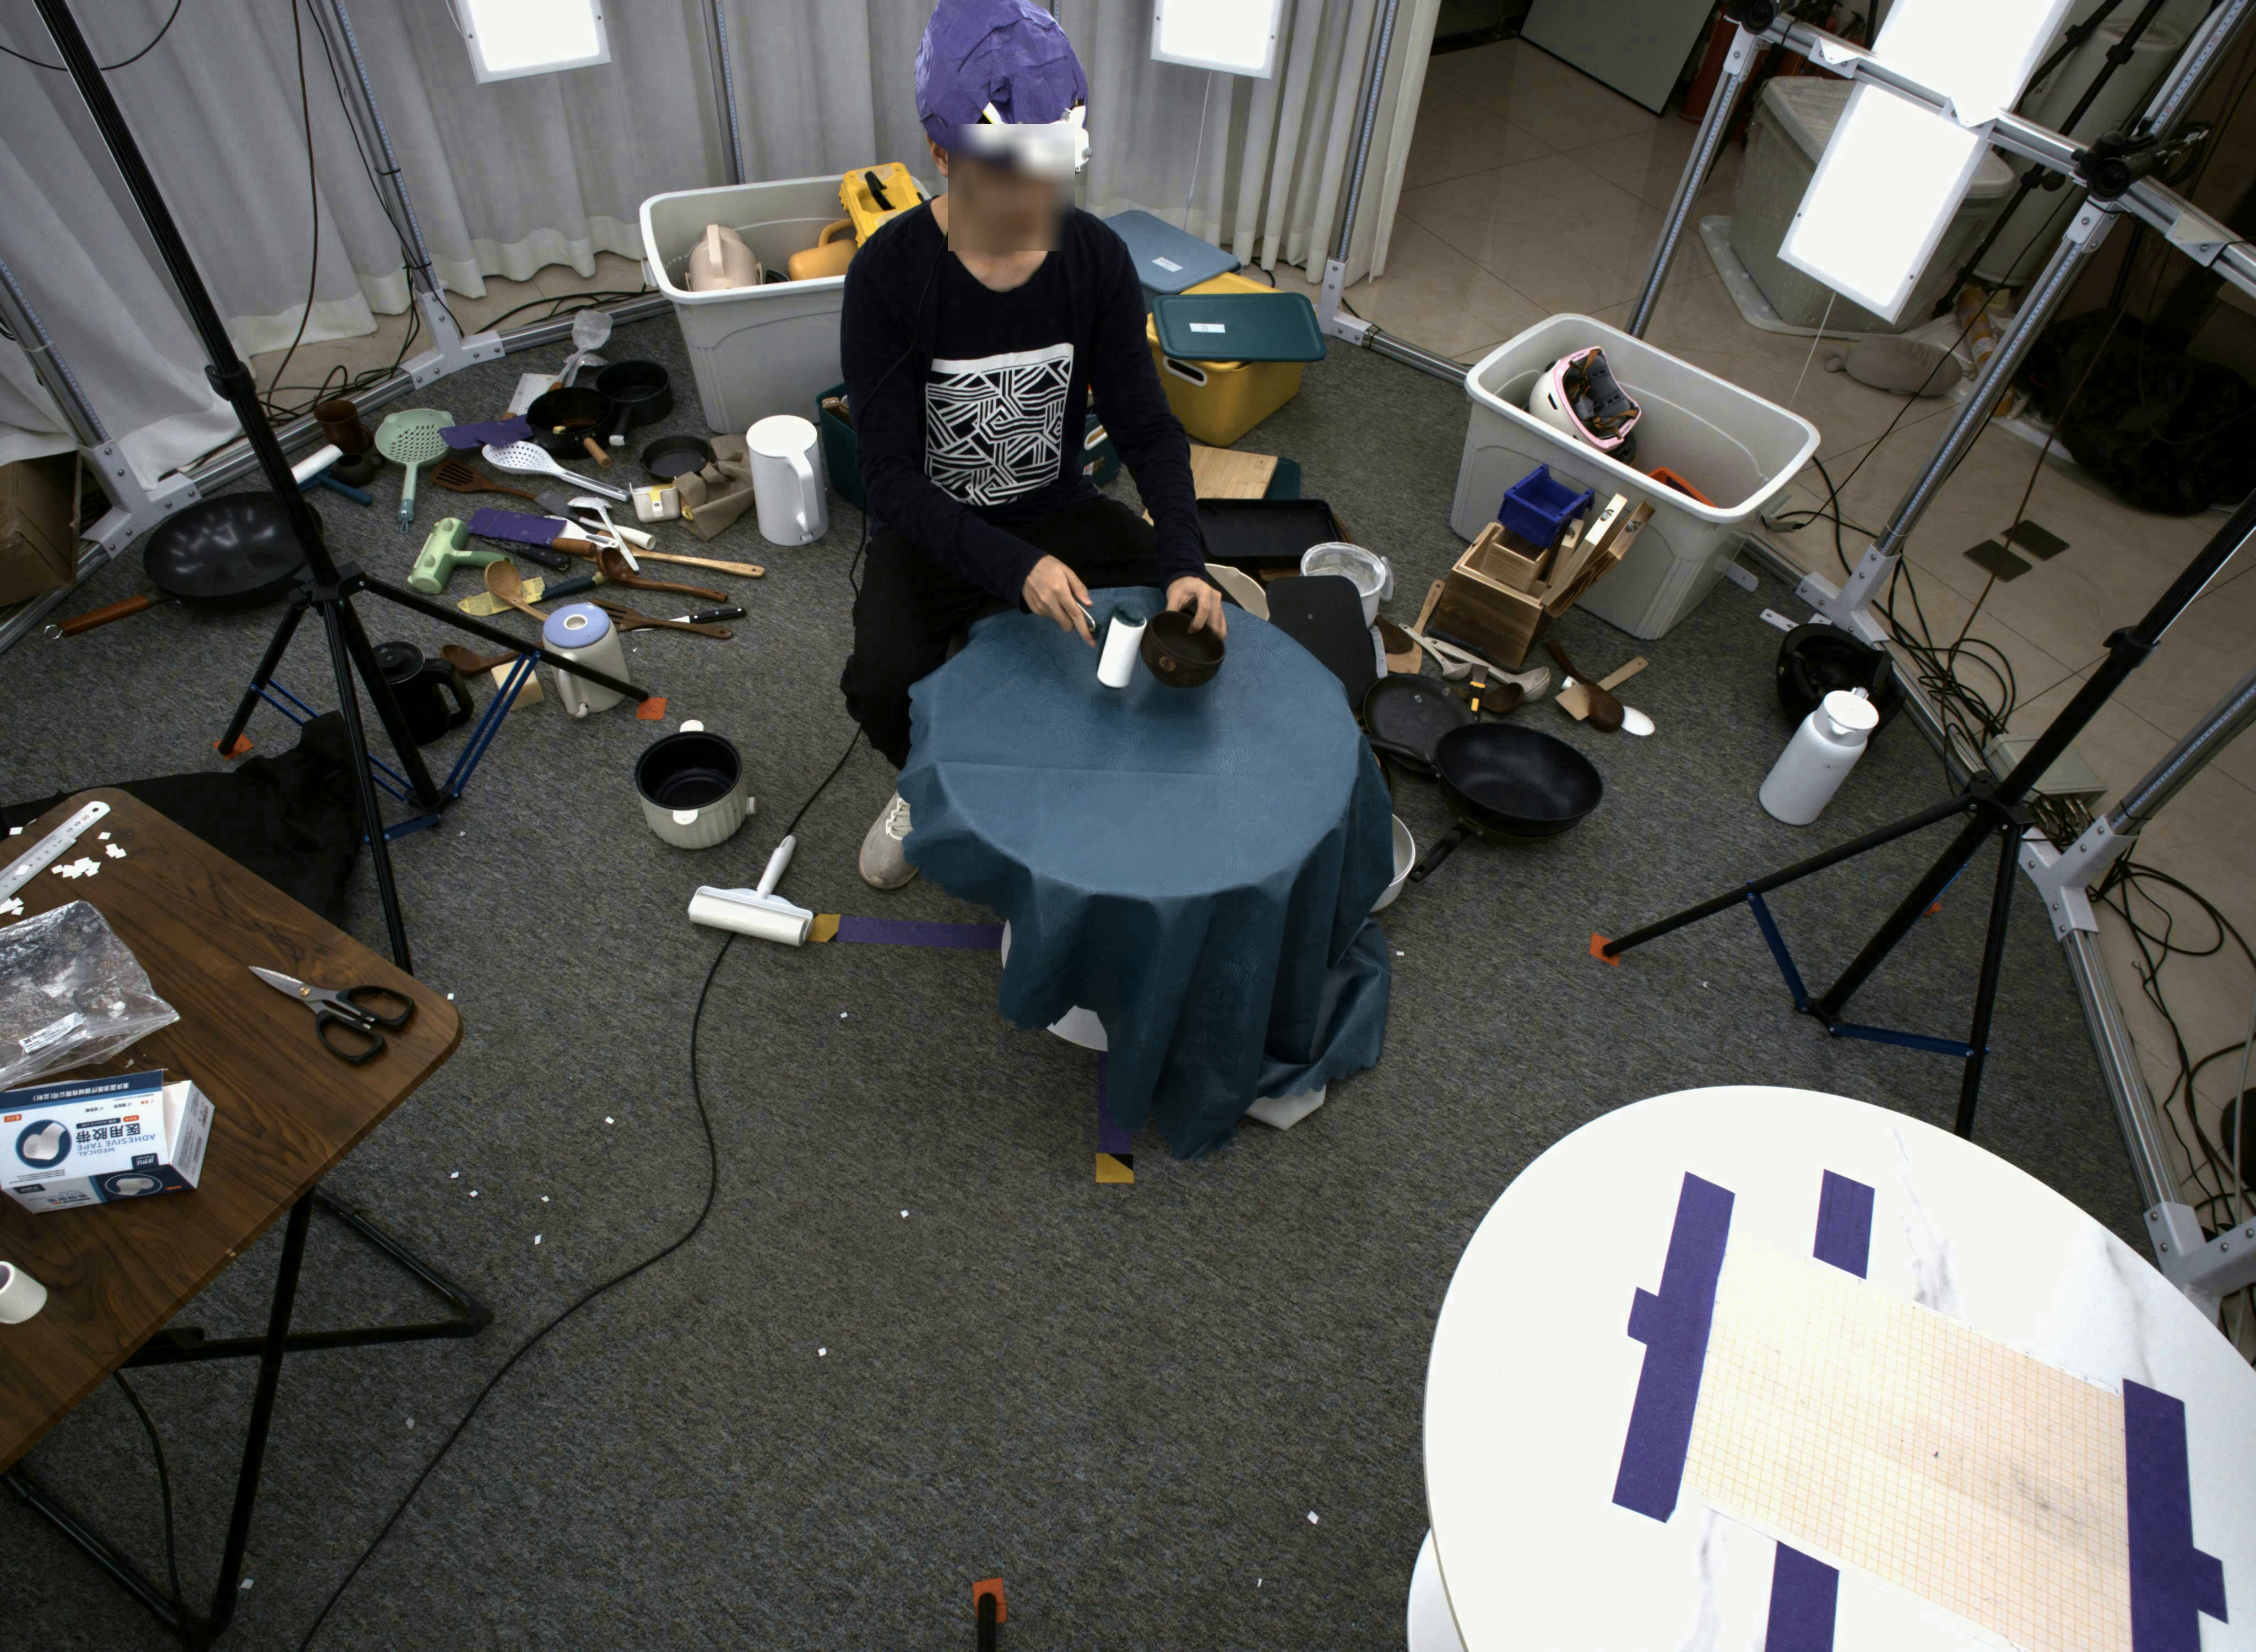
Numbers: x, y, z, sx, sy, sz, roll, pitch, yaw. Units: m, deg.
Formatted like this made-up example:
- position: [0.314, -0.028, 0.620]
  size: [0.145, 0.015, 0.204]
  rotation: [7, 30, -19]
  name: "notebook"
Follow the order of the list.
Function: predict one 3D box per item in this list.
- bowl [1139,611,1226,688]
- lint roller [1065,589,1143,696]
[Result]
- position: [0.070, -0.236, 1.777]
  size: [0.117, 0.068, 0.121]
  rotation: [14, 40, -12]
  name: "bowl"
- position: [-0.053, -0.280, 1.799]
  size: [0.048, 0.131, 0.183]
  rotation: [-12, 45, -38]
  name: "lint roller"
